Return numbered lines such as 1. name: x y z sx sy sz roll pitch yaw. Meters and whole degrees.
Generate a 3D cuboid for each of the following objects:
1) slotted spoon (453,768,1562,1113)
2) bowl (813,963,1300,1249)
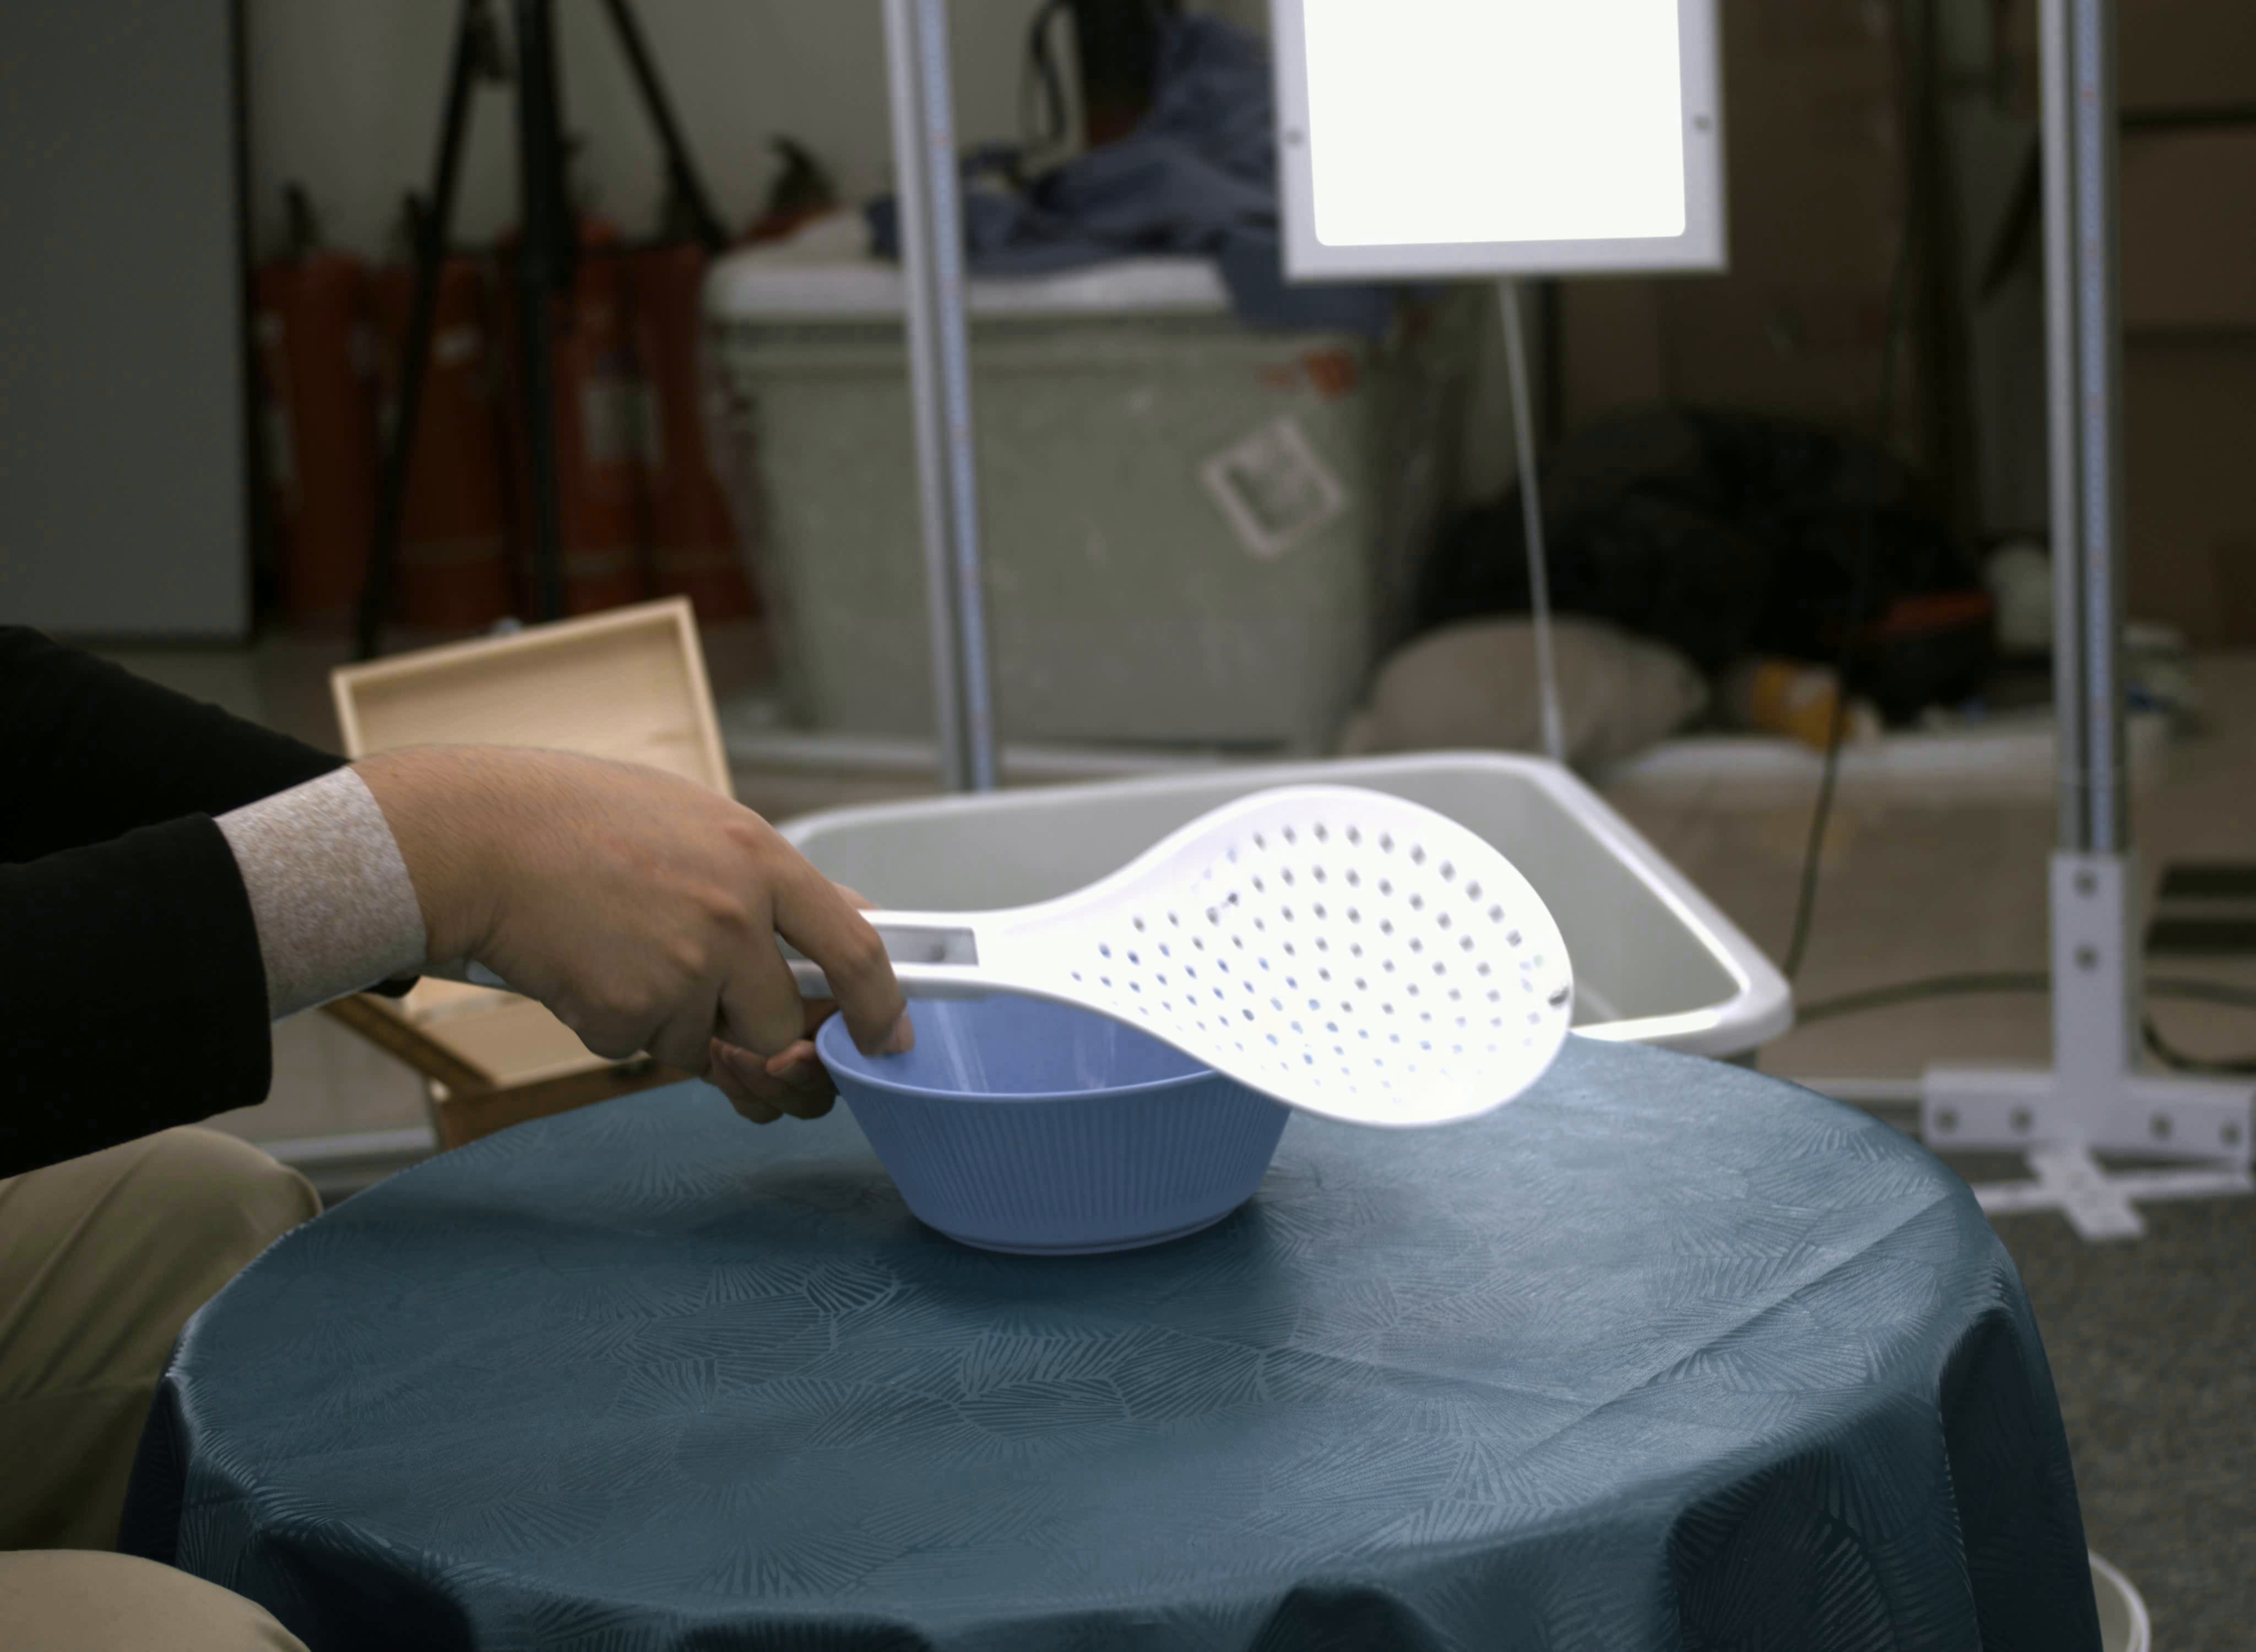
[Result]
1. slotted spoon: -0.035 0.037 1.704 0.344 0.046 0.136 4 50 -16
2. bowl: -0.017 0.096 1.878 0.175 0.070 0.176 -5 13 0
